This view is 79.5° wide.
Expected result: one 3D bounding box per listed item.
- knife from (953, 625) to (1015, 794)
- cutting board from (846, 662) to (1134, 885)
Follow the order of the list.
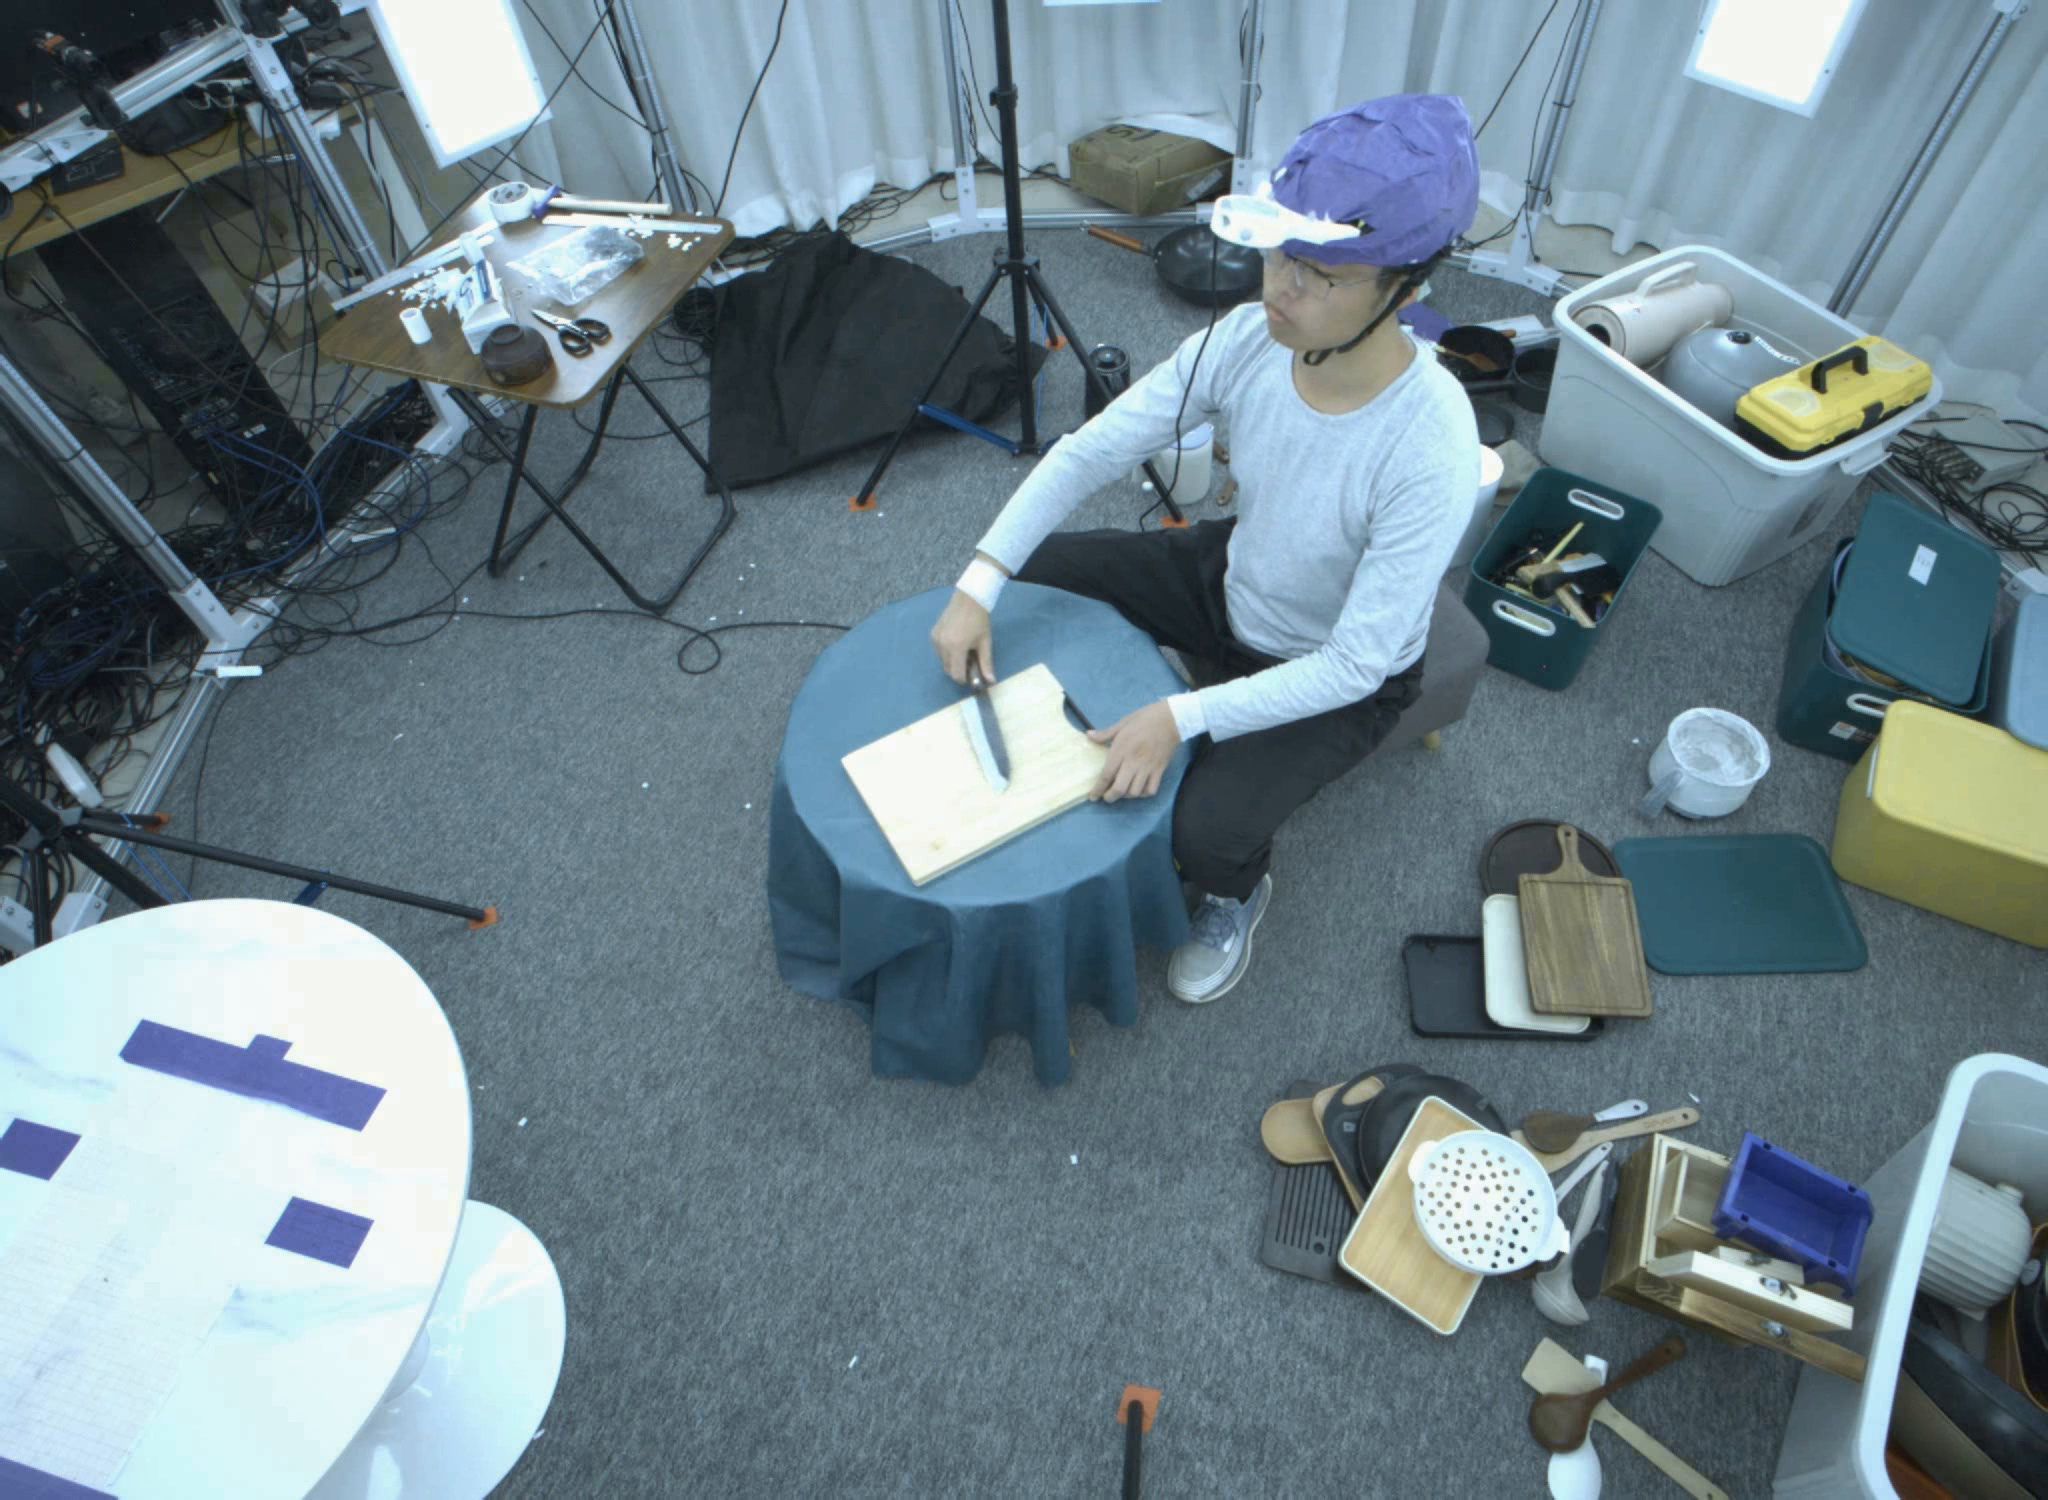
[{"bbox_3d":[-0.061,-0.062,1.791,0.050,0.020,0.285,-19,64,7],"label":"knife"},{"bbox_3d":[-0.054,0.024,1.769,0.351,0.024,0.246,-27,59,-17],"label":"cutting board"}]
